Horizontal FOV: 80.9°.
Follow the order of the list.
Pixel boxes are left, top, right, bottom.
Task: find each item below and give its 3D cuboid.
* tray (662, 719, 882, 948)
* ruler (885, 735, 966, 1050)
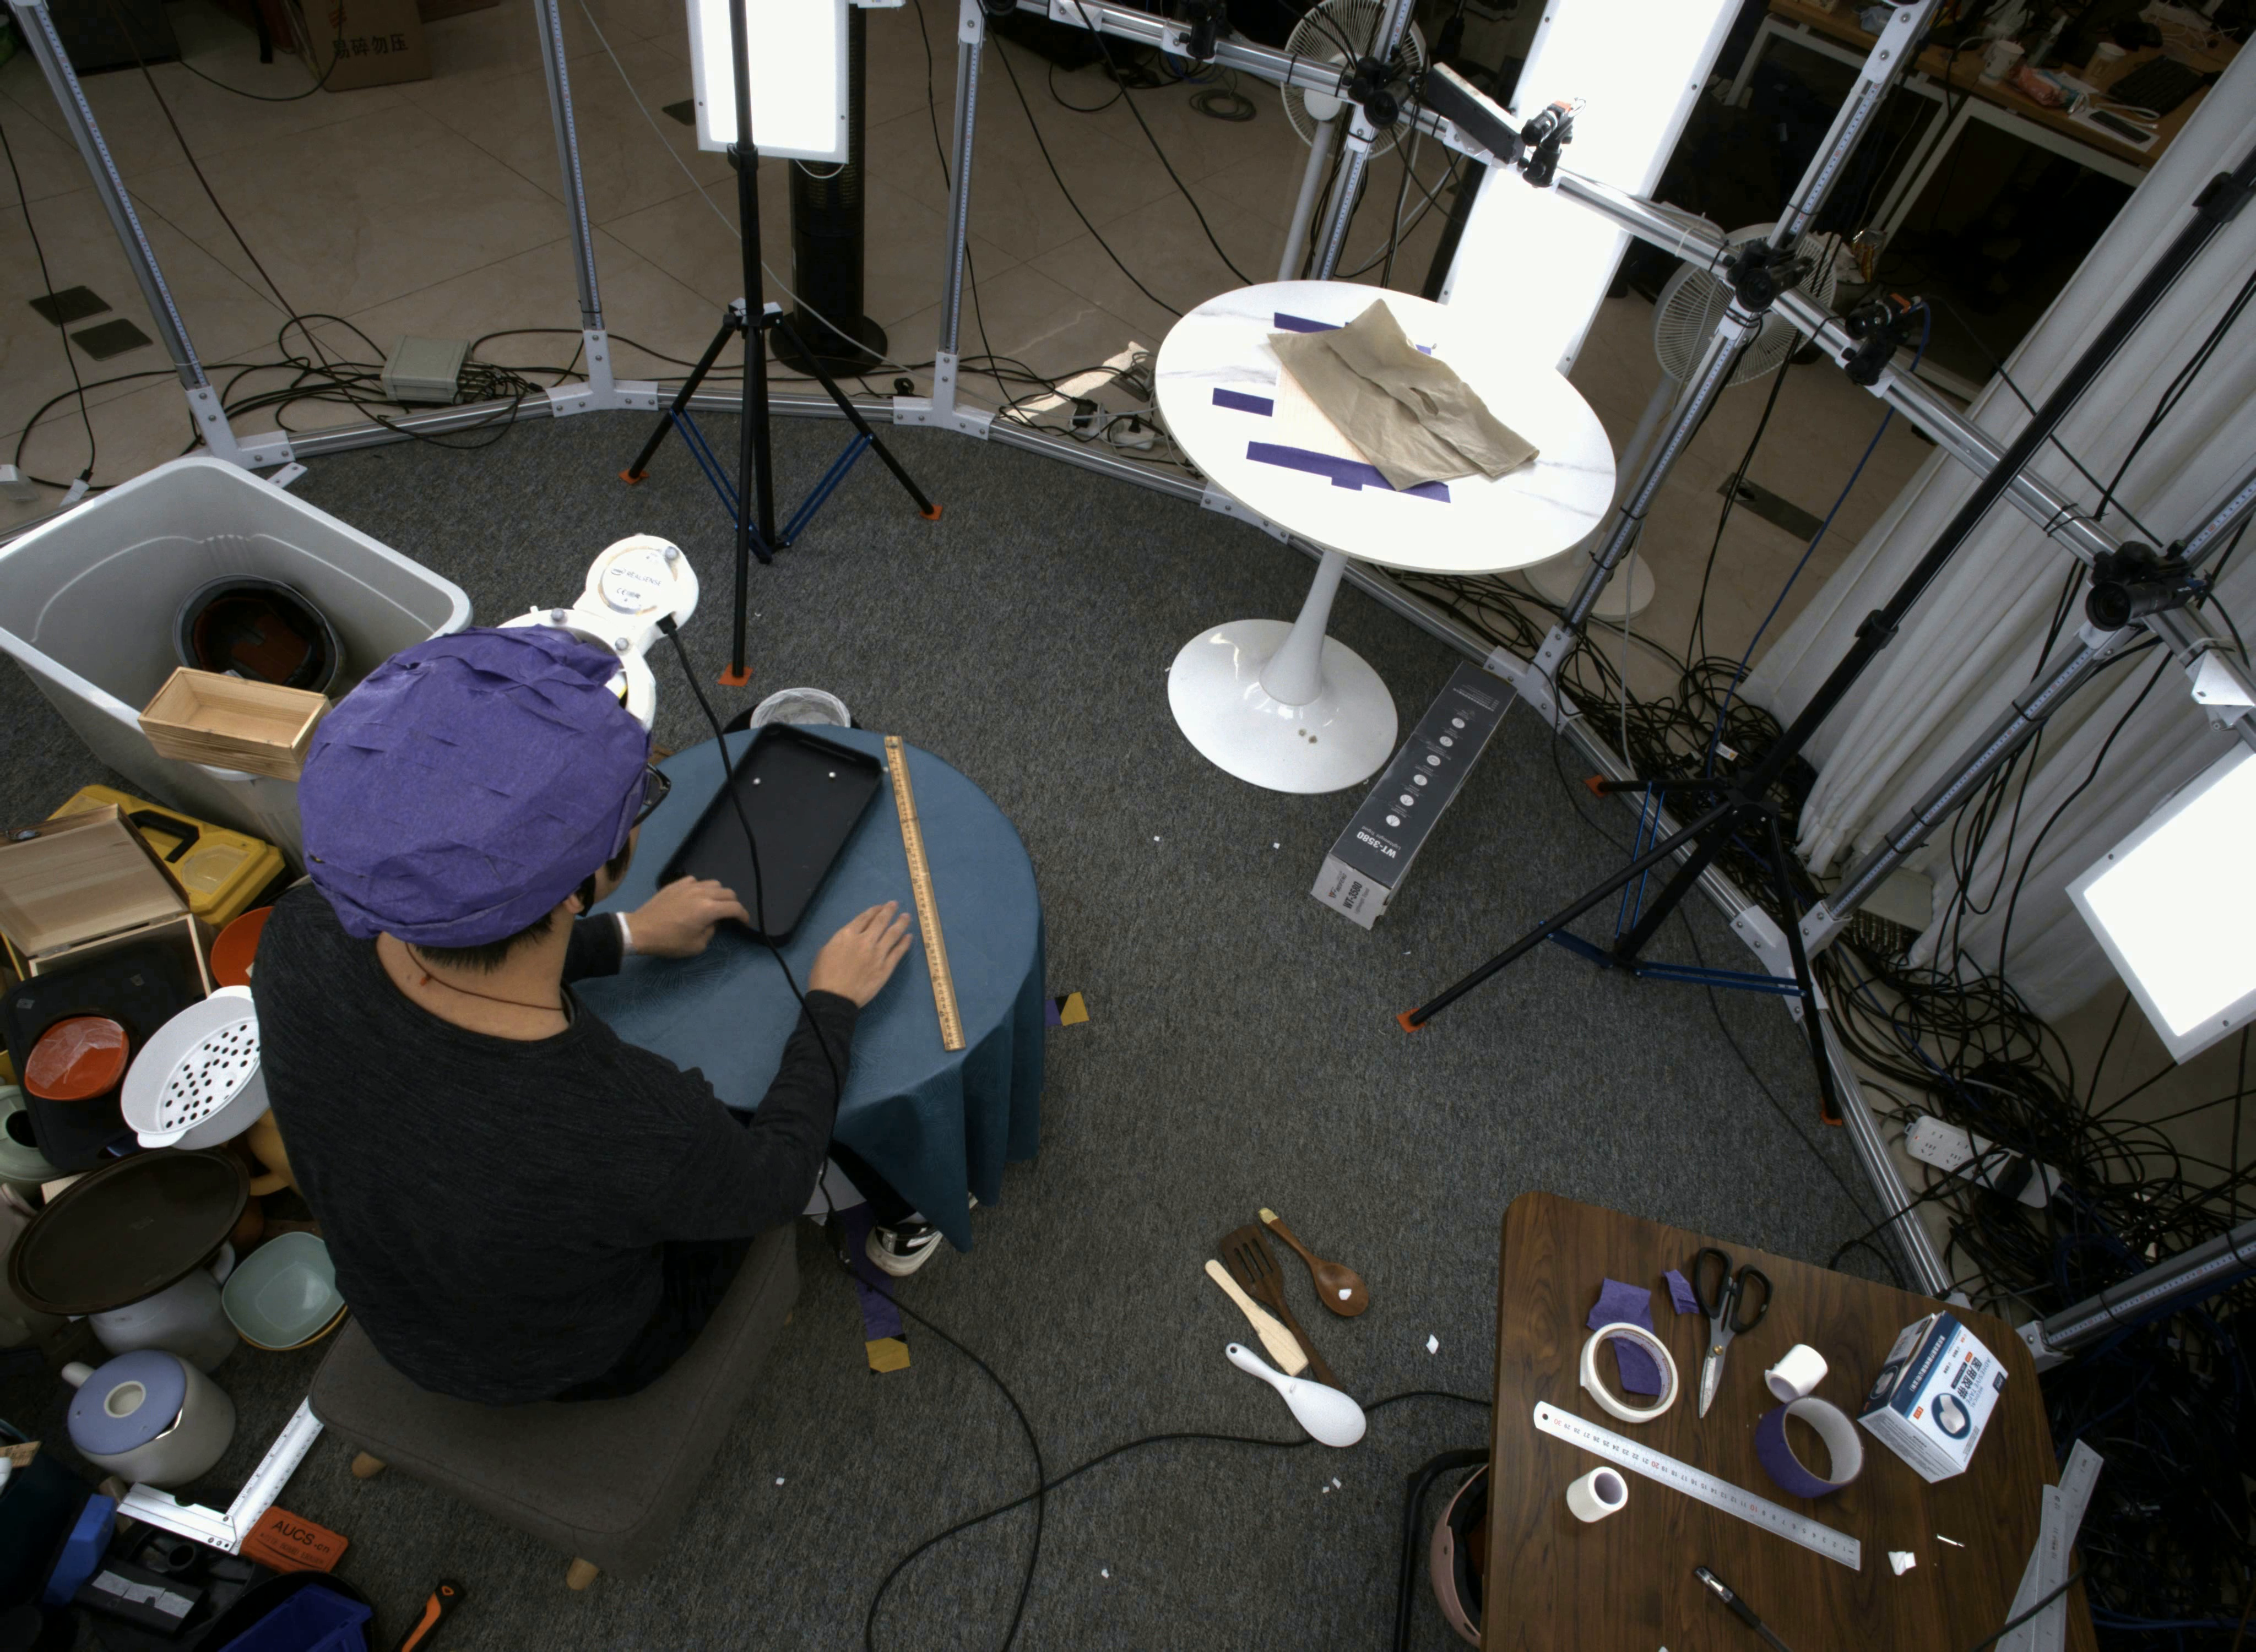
[{"bbox_3d":[-0.457,0.002,1.686,0.183,0.038,0.314,18,52,-1],"label":"tray"},{"bbox_3d":[-0.270,0.070,1.704,0.027,0.006,0.489,-7,56,-16],"label":"ruler"}]
